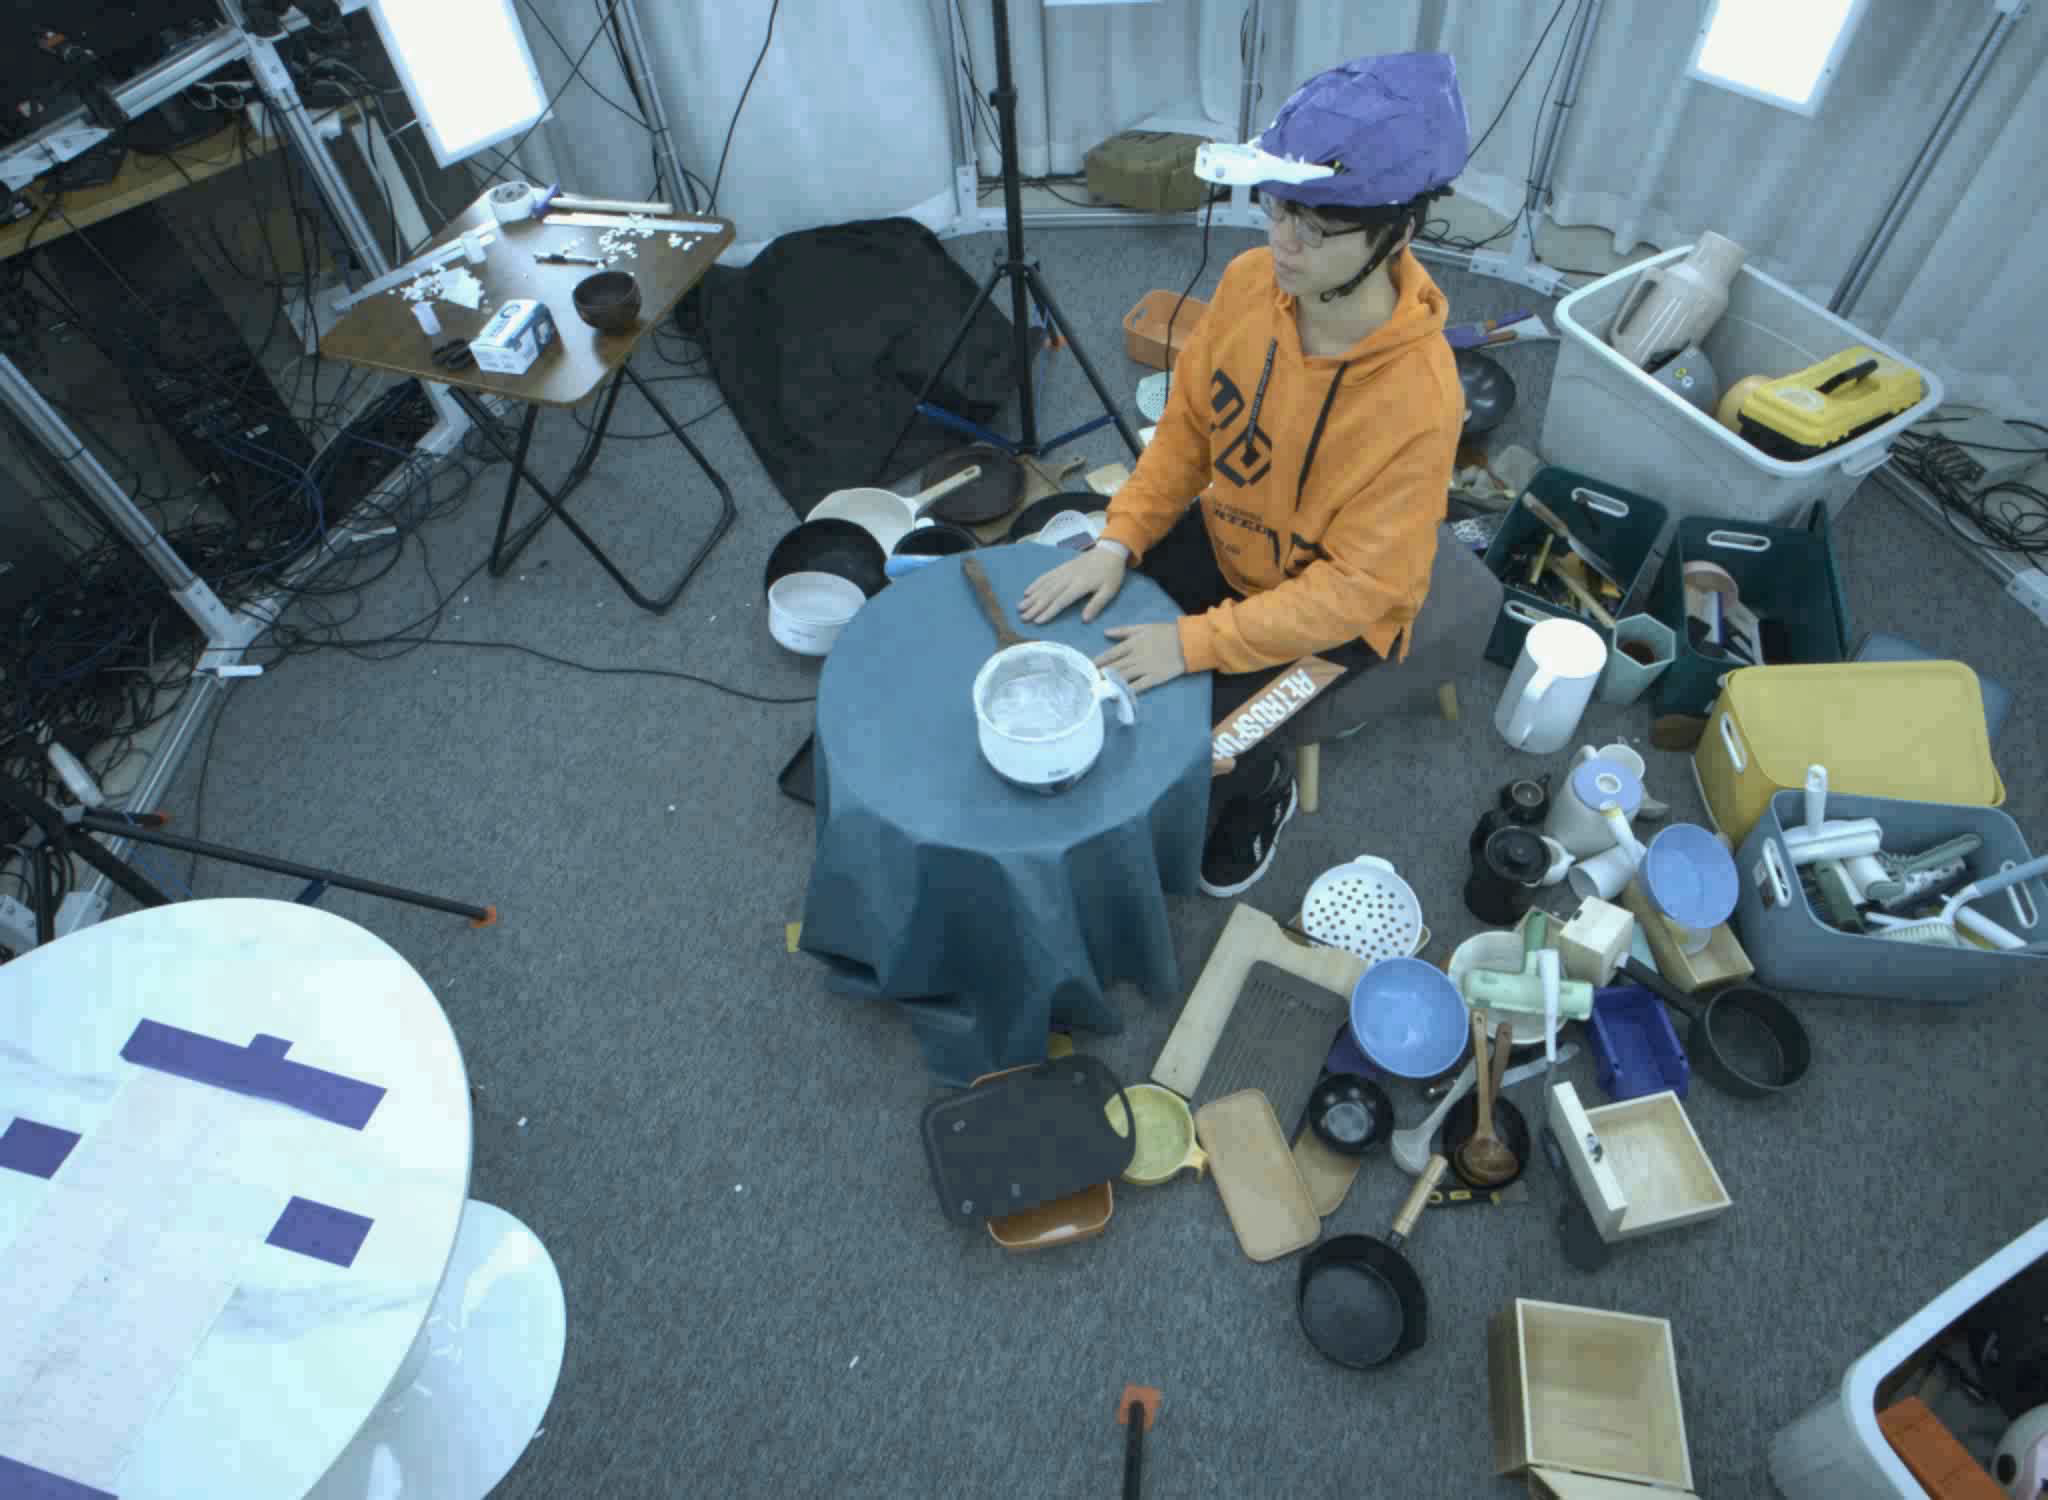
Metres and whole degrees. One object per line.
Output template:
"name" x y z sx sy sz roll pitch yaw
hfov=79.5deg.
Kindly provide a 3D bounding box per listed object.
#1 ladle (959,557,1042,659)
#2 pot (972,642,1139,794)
"ladle" -0.048 -0.232 1.910 0.076 0.072 0.269 -18 57 -12
"pot" 0.048 -0.052 1.737 0.235 0.138 0.176 -16 56 -8
